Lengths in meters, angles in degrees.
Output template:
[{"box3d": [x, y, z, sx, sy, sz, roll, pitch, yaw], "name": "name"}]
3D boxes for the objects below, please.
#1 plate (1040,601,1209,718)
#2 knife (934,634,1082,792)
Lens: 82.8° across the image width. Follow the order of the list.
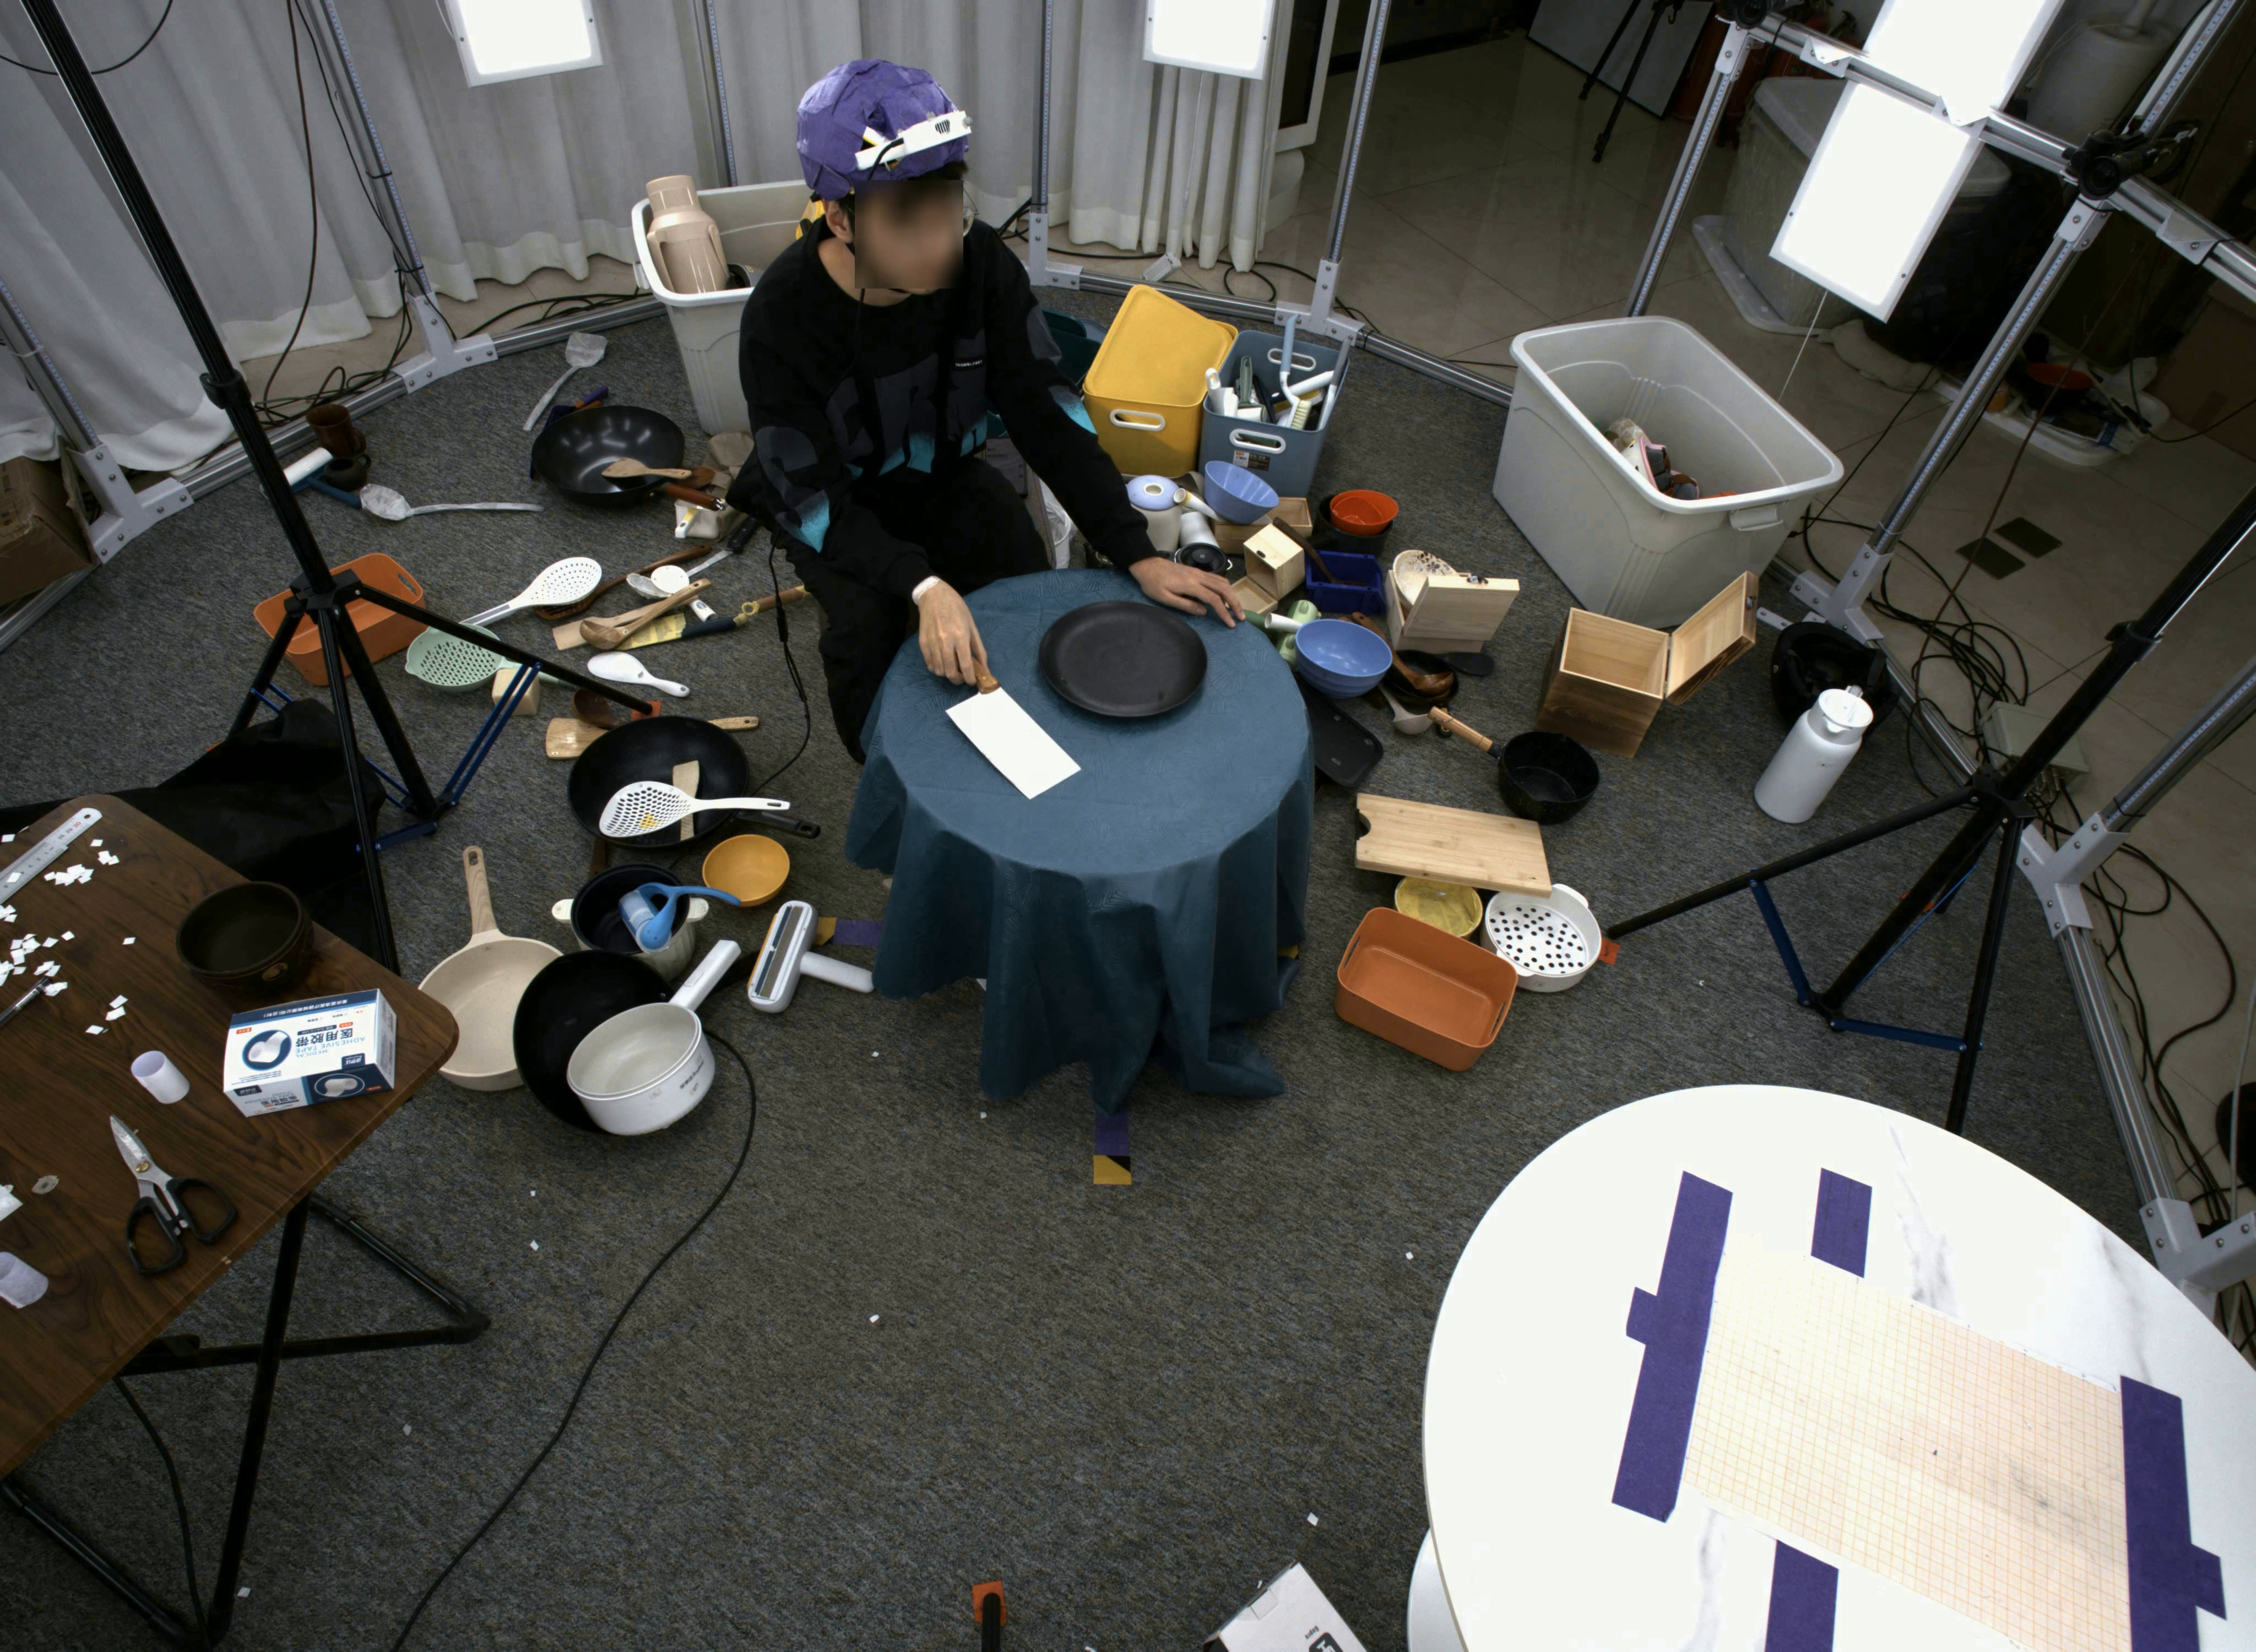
[{"box3d": [-0.004, -0.238, 1.859, 0.244, 0.023, 0.250, 2, 49, -2], "name": "plate"}, {"box3d": [-0.189, -0.156, 1.776, 0.093, 0.020, 0.311, -31, 62, -26], "name": "knife"}]
